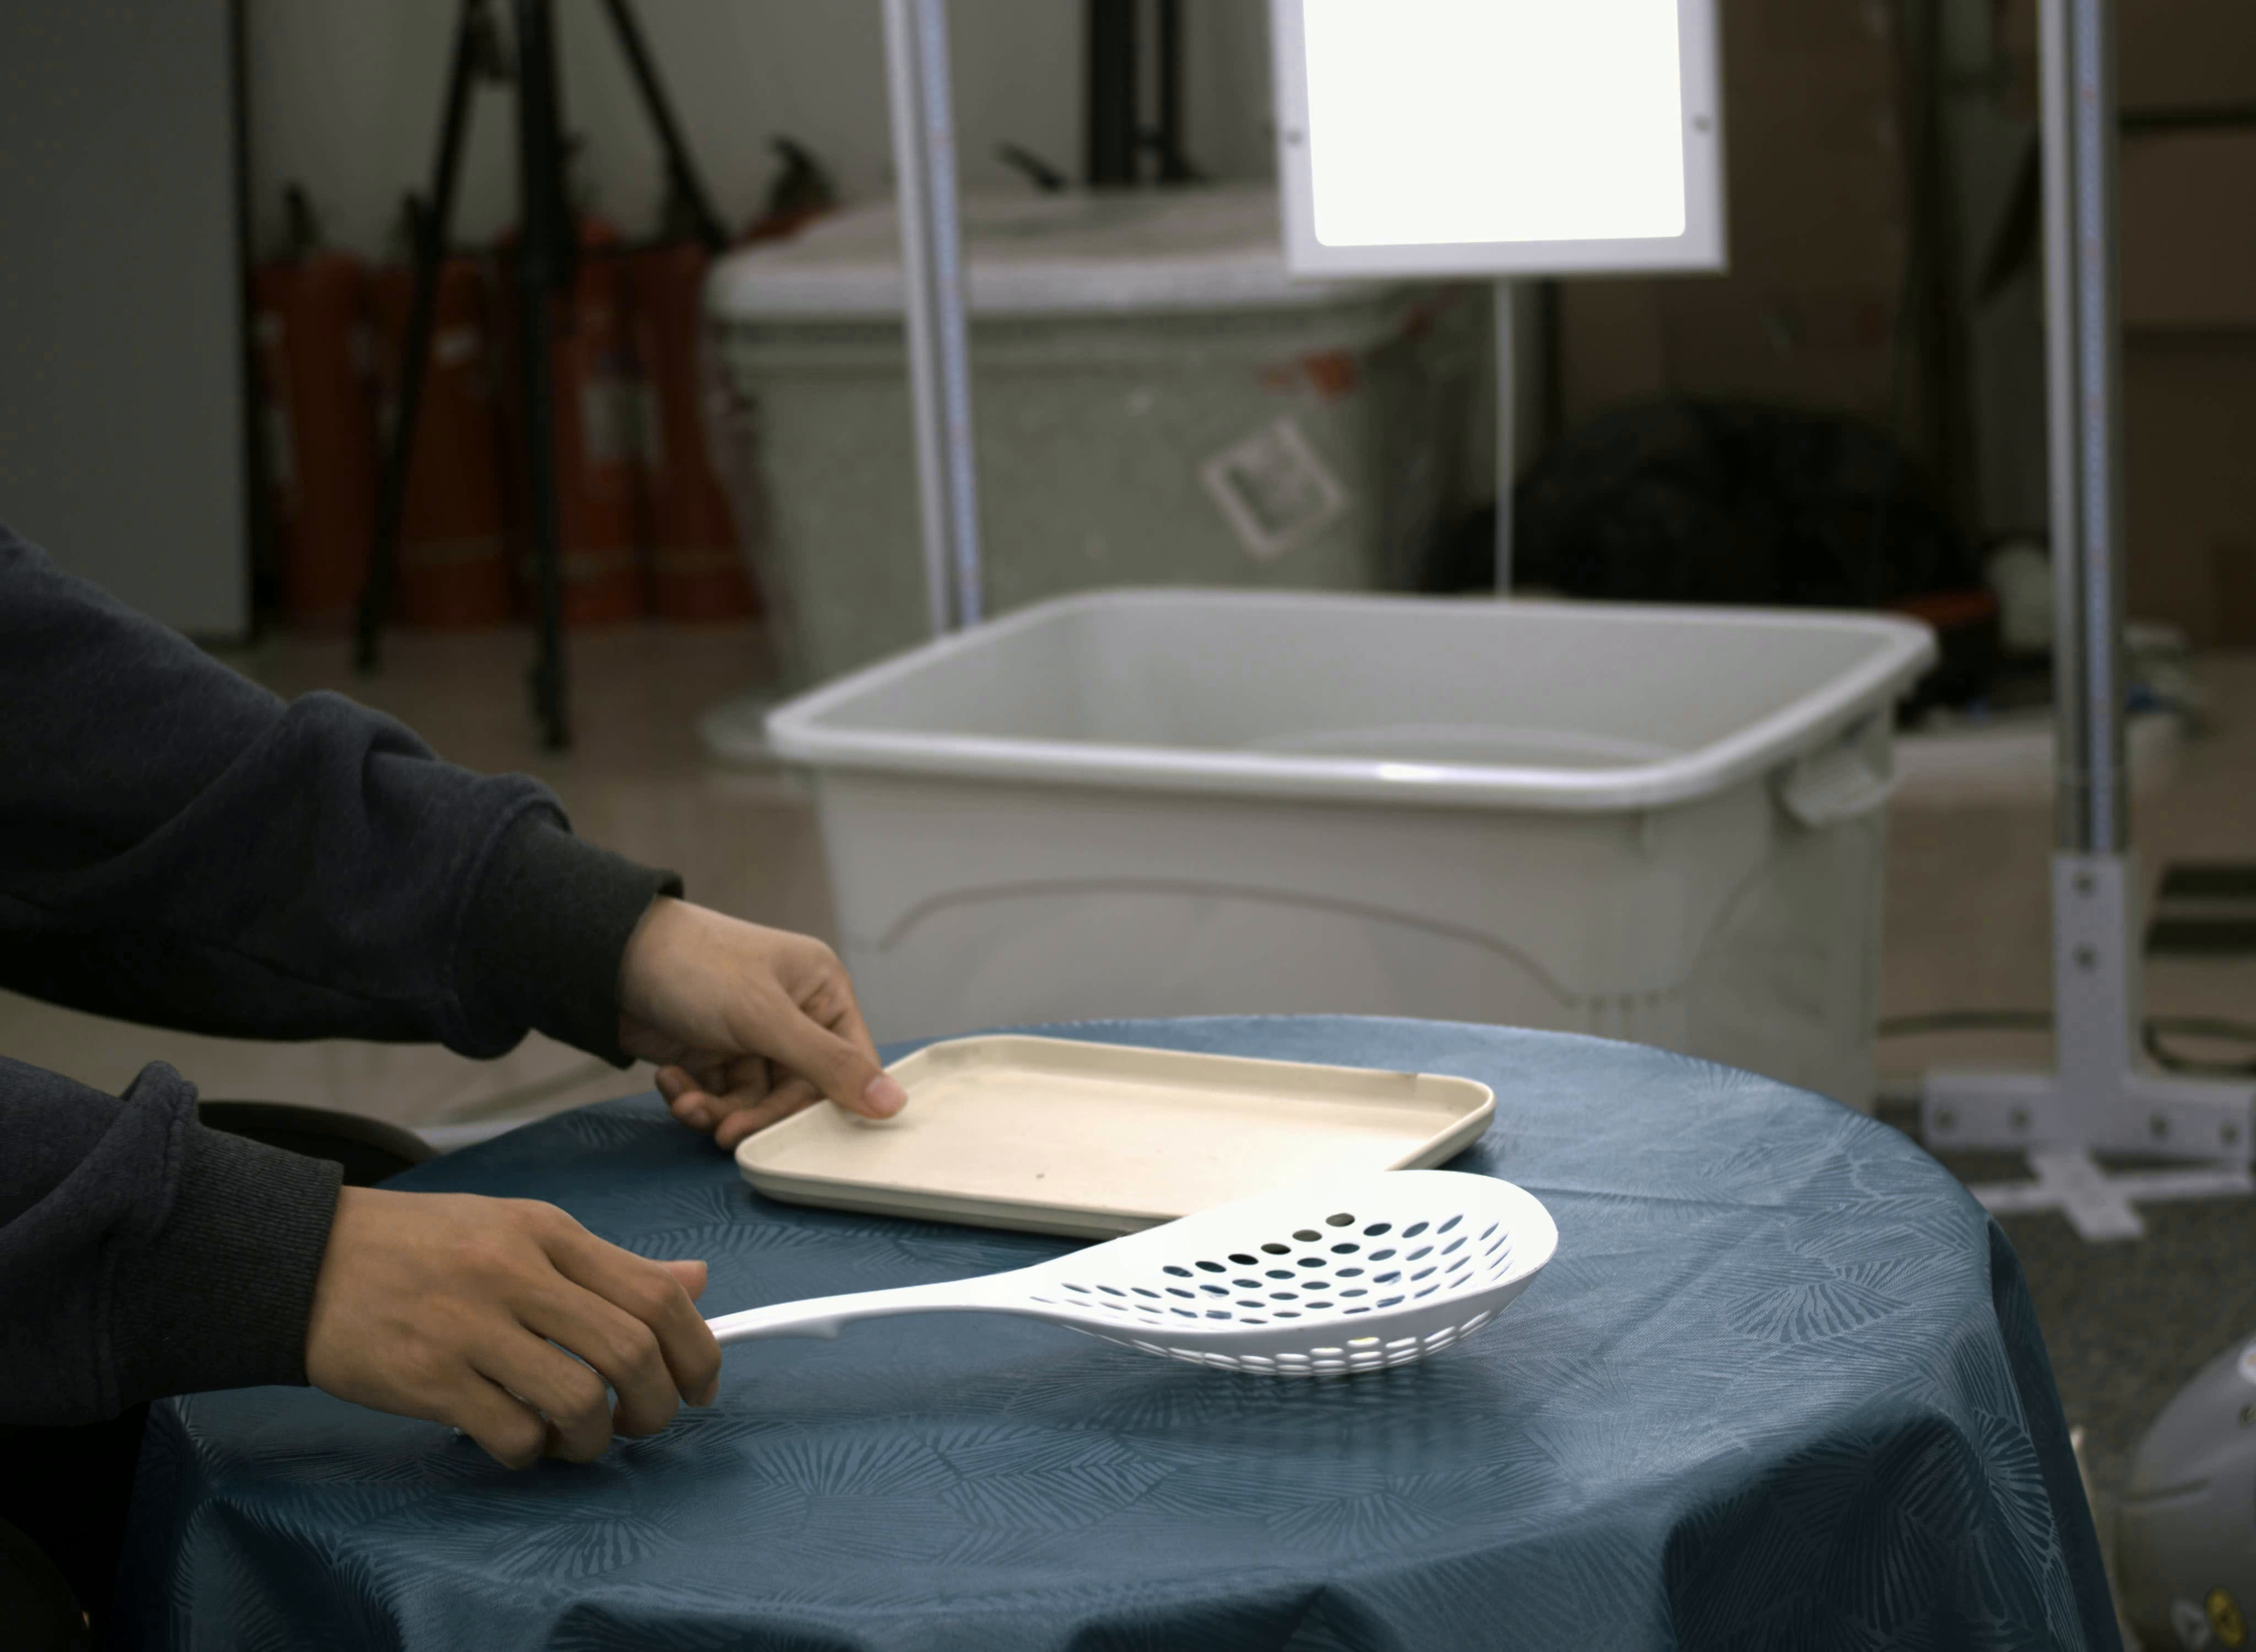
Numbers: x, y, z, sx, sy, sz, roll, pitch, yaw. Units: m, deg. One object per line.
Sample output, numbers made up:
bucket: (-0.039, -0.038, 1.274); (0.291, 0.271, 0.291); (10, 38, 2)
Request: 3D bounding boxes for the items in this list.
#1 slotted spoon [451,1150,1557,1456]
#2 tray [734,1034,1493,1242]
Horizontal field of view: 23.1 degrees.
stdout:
slotted spoon: (-0.039, 0.154, 1.709); (0.347, 0.050, 0.136); (-5, 15, 0)
tray: (-0.005, 0.111, 1.925); (0.244, 0.017, 0.167); (4, 17, 33)
